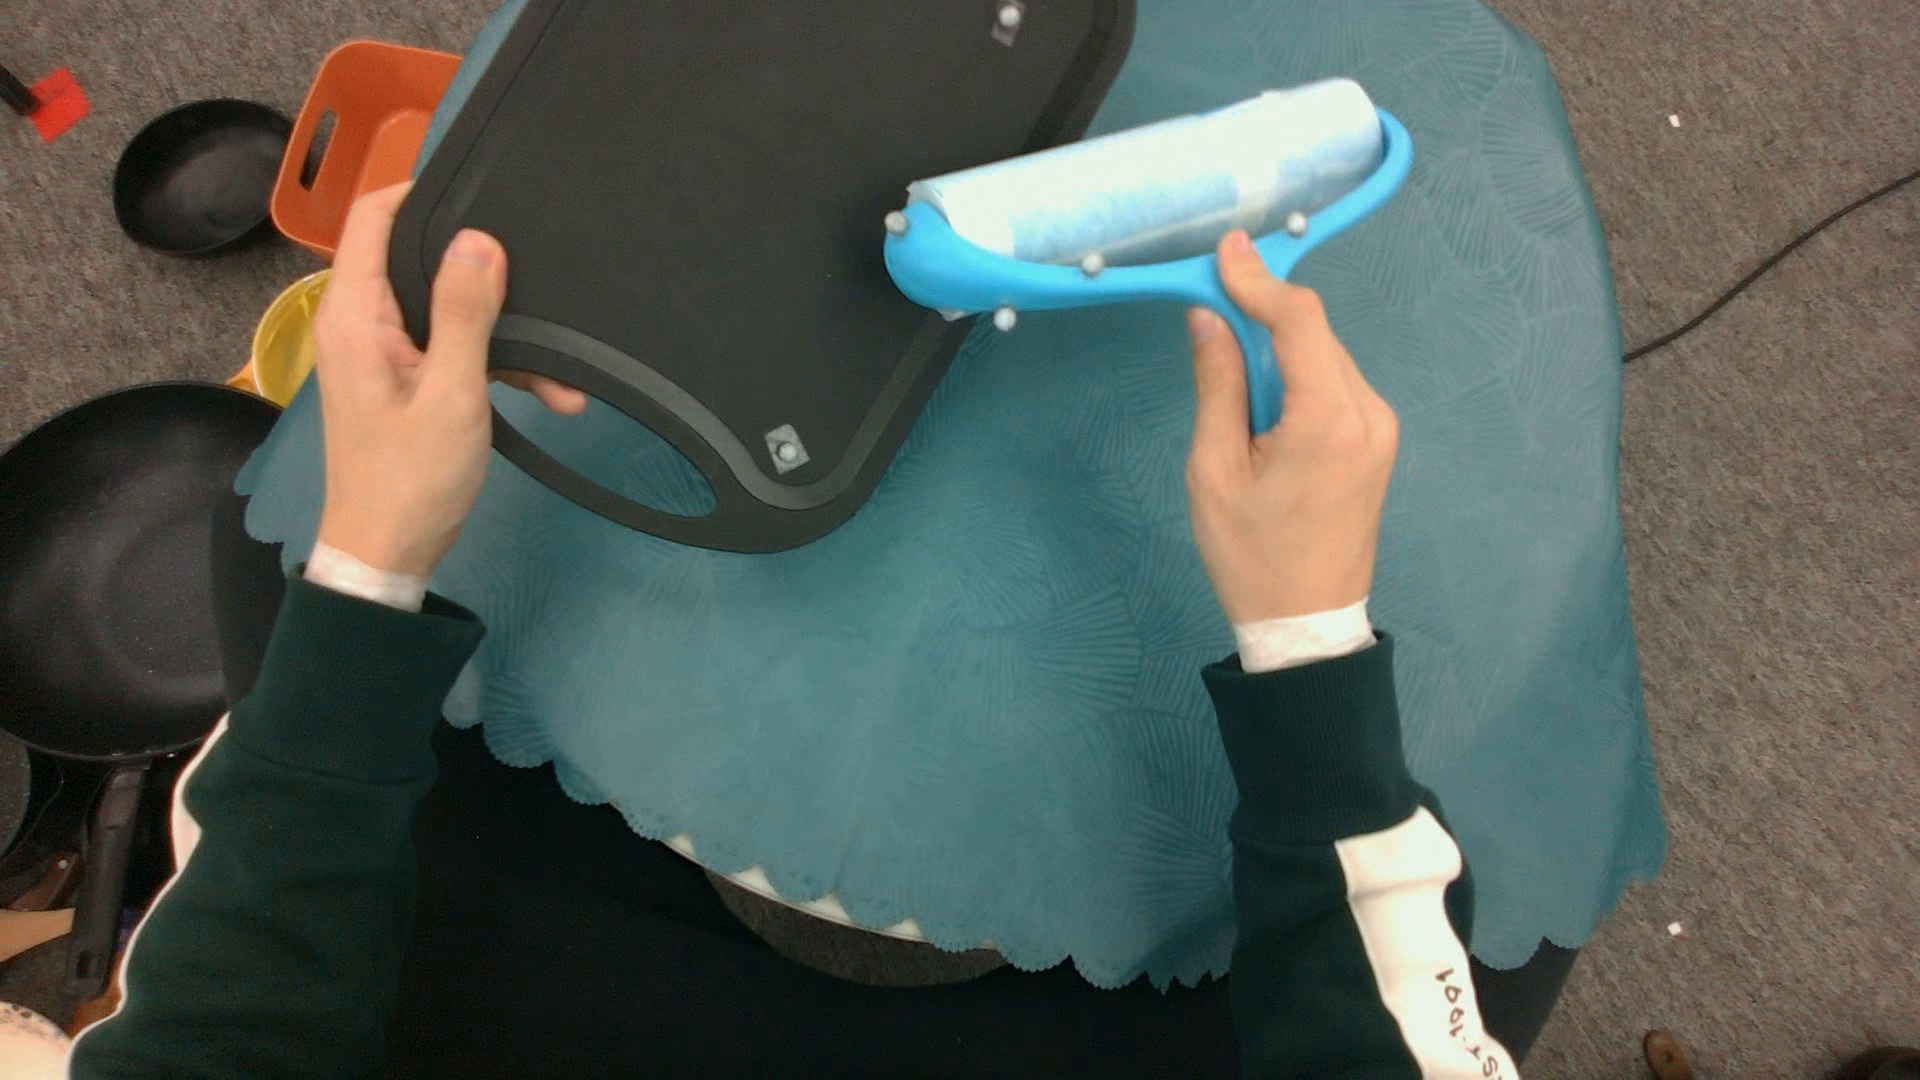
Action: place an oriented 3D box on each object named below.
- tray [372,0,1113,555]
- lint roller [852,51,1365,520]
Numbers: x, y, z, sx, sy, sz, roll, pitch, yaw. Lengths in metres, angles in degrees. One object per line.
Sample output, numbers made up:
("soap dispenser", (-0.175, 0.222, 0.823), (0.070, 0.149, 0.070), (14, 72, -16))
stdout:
("tray", (-0.078, -0.154, 0.550), (0.211, 0.010, 0.325), (31, 86, -23))
("lint roller", (0.090, -0.098, 0.543), (0.229, 0.067, 0.180), (-24, 77, -23))
